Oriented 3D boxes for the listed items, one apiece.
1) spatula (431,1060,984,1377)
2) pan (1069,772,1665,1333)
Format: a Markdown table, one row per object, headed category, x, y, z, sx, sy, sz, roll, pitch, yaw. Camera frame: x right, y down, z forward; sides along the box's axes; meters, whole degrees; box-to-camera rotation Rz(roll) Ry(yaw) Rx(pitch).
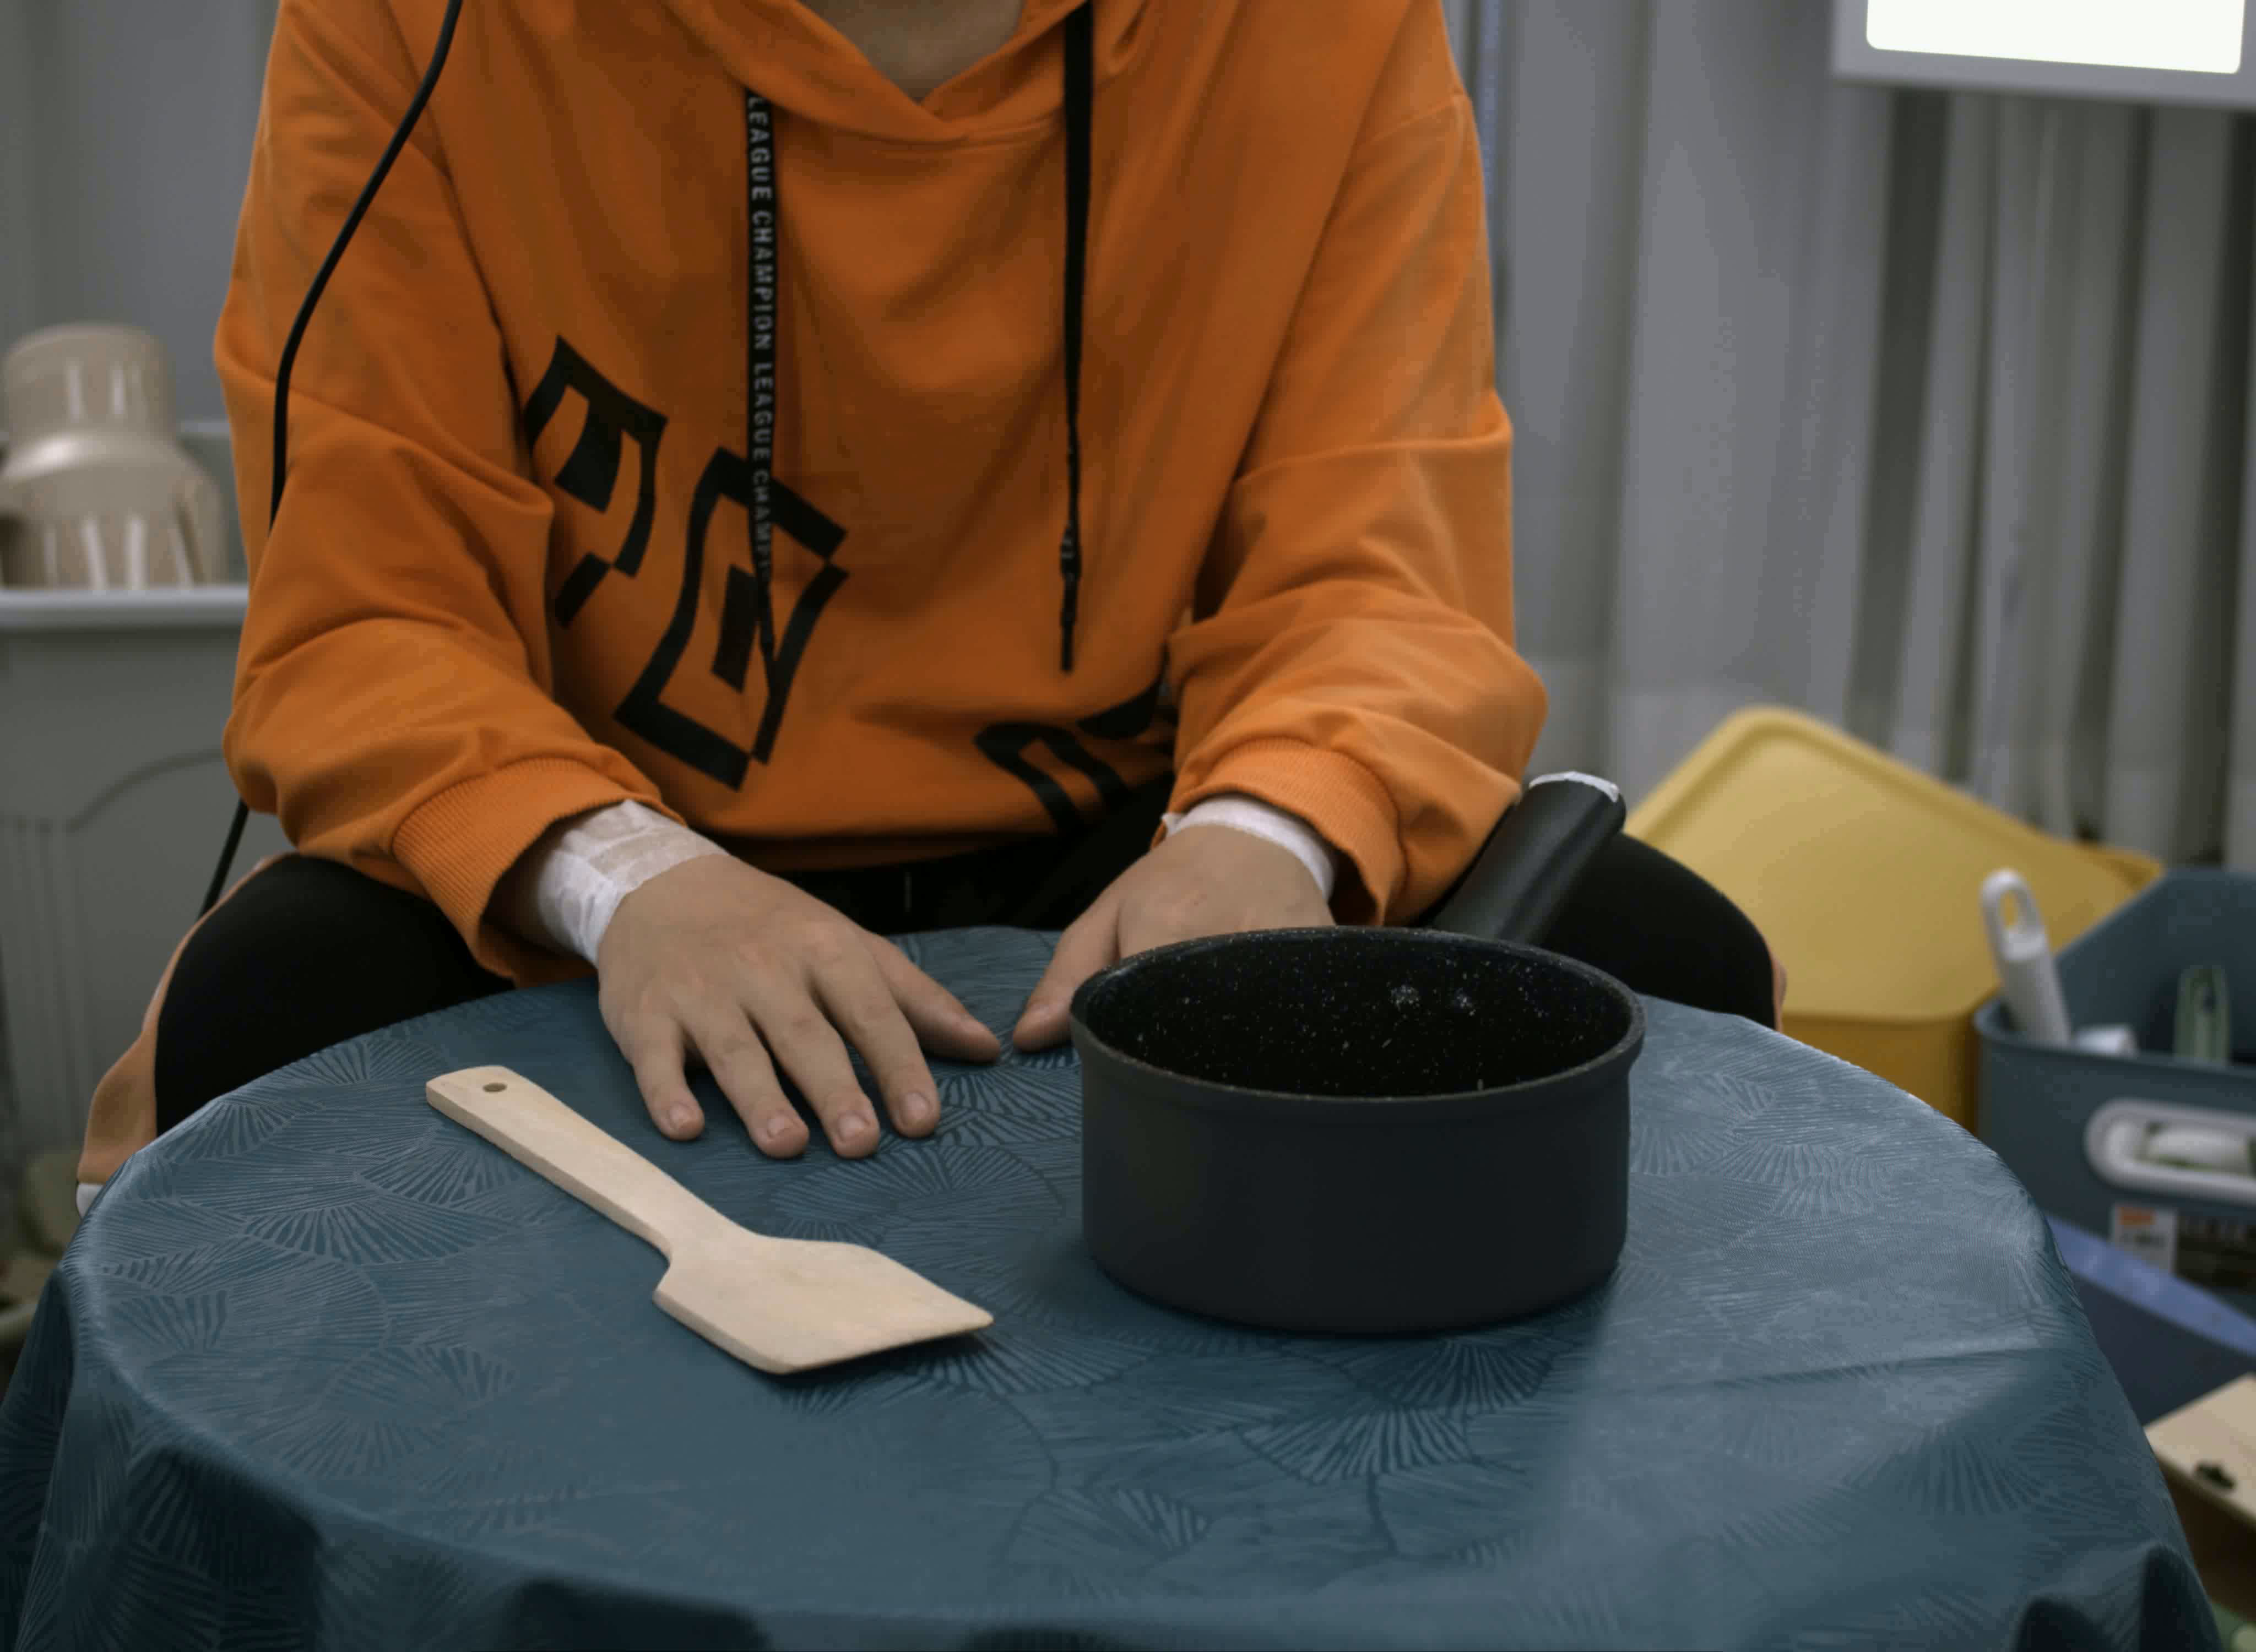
| category | x | y | z | sx | sy | sz | roll | pitch | yaw |
| --- | --- | --- | --- | --- | --- | --- | --- | --- | --- |
| spatula | -0.143 | 0.115 | 1.592 | 0.072 | 0.011 | 0.289 | -12 | 20 | -29 |
| pan | 0.098 | 0.066 | 1.635 | 0.170 | 0.087 | 0.329 | 8 | 19 | 22 |
